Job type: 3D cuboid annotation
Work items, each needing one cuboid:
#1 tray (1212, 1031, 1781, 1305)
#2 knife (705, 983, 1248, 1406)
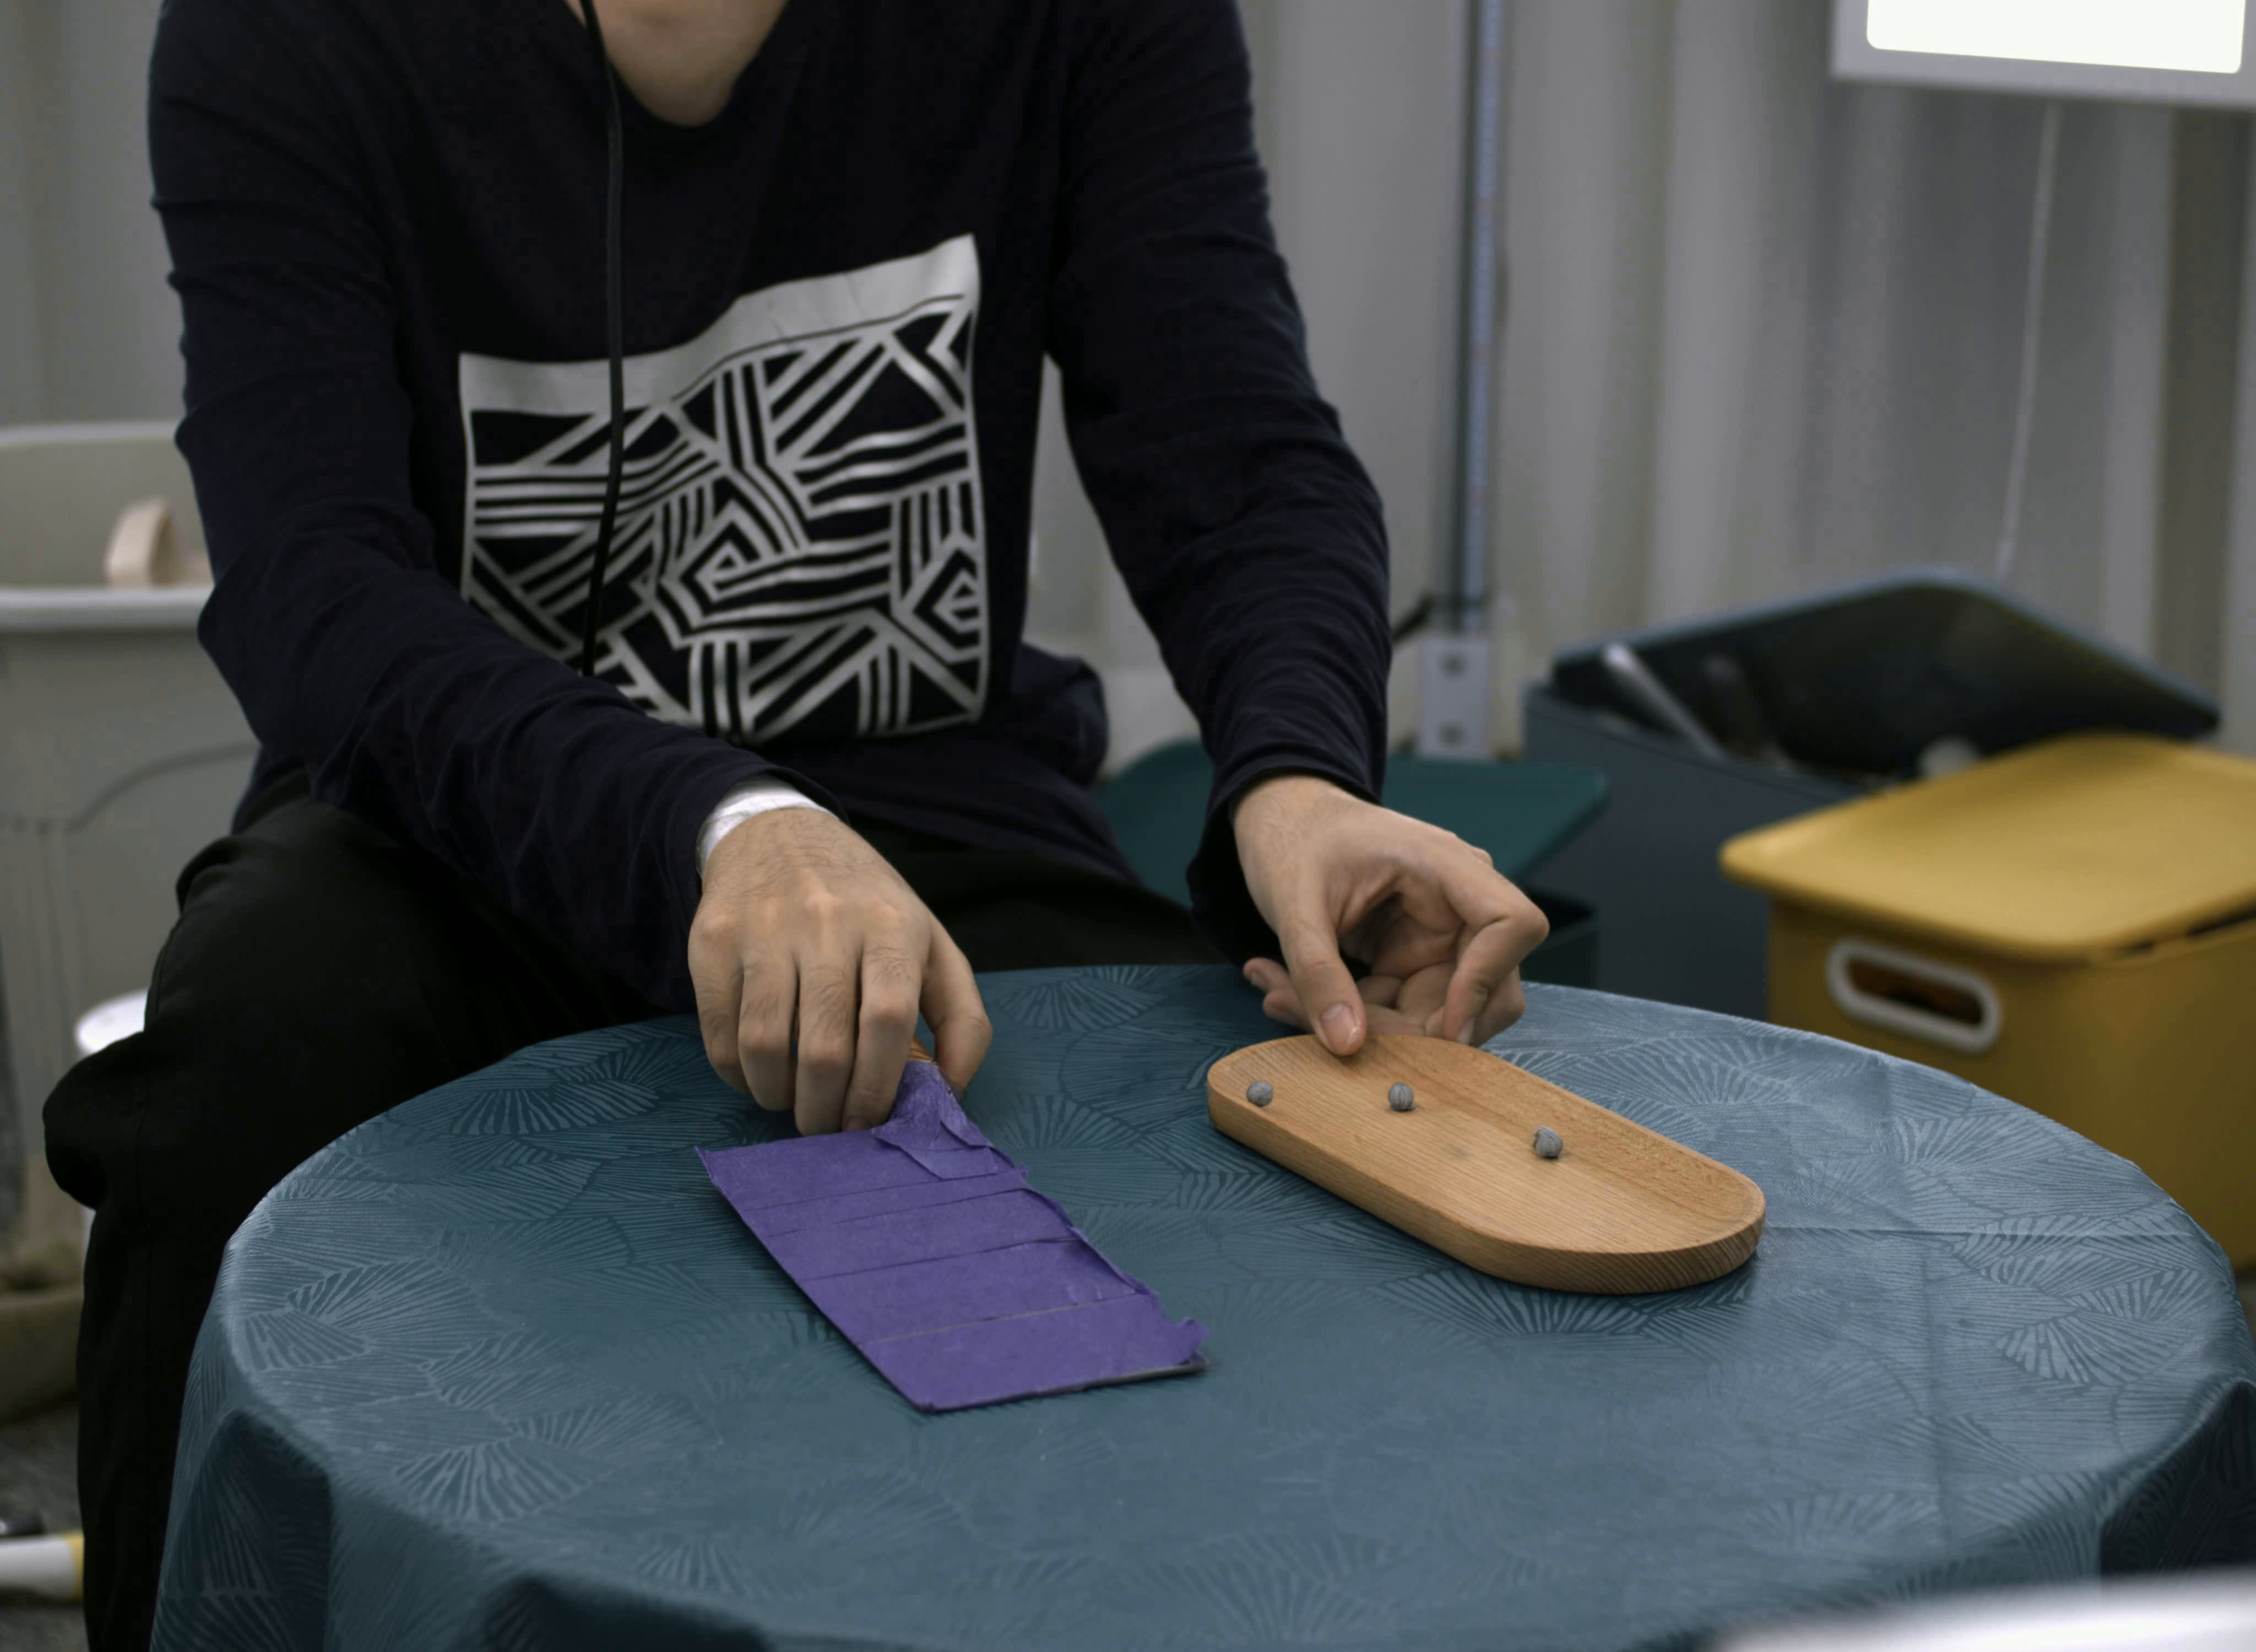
[{"bbox_3d":[0.111,0.104,1.632,0.102,0.020,0.228,-10,21,-30],"label":"tray"},{"bbox_3d":[-0.072,0.107,1.590,0.104,0.032,0.311,-6,17,-22],"label":"knife"}]
